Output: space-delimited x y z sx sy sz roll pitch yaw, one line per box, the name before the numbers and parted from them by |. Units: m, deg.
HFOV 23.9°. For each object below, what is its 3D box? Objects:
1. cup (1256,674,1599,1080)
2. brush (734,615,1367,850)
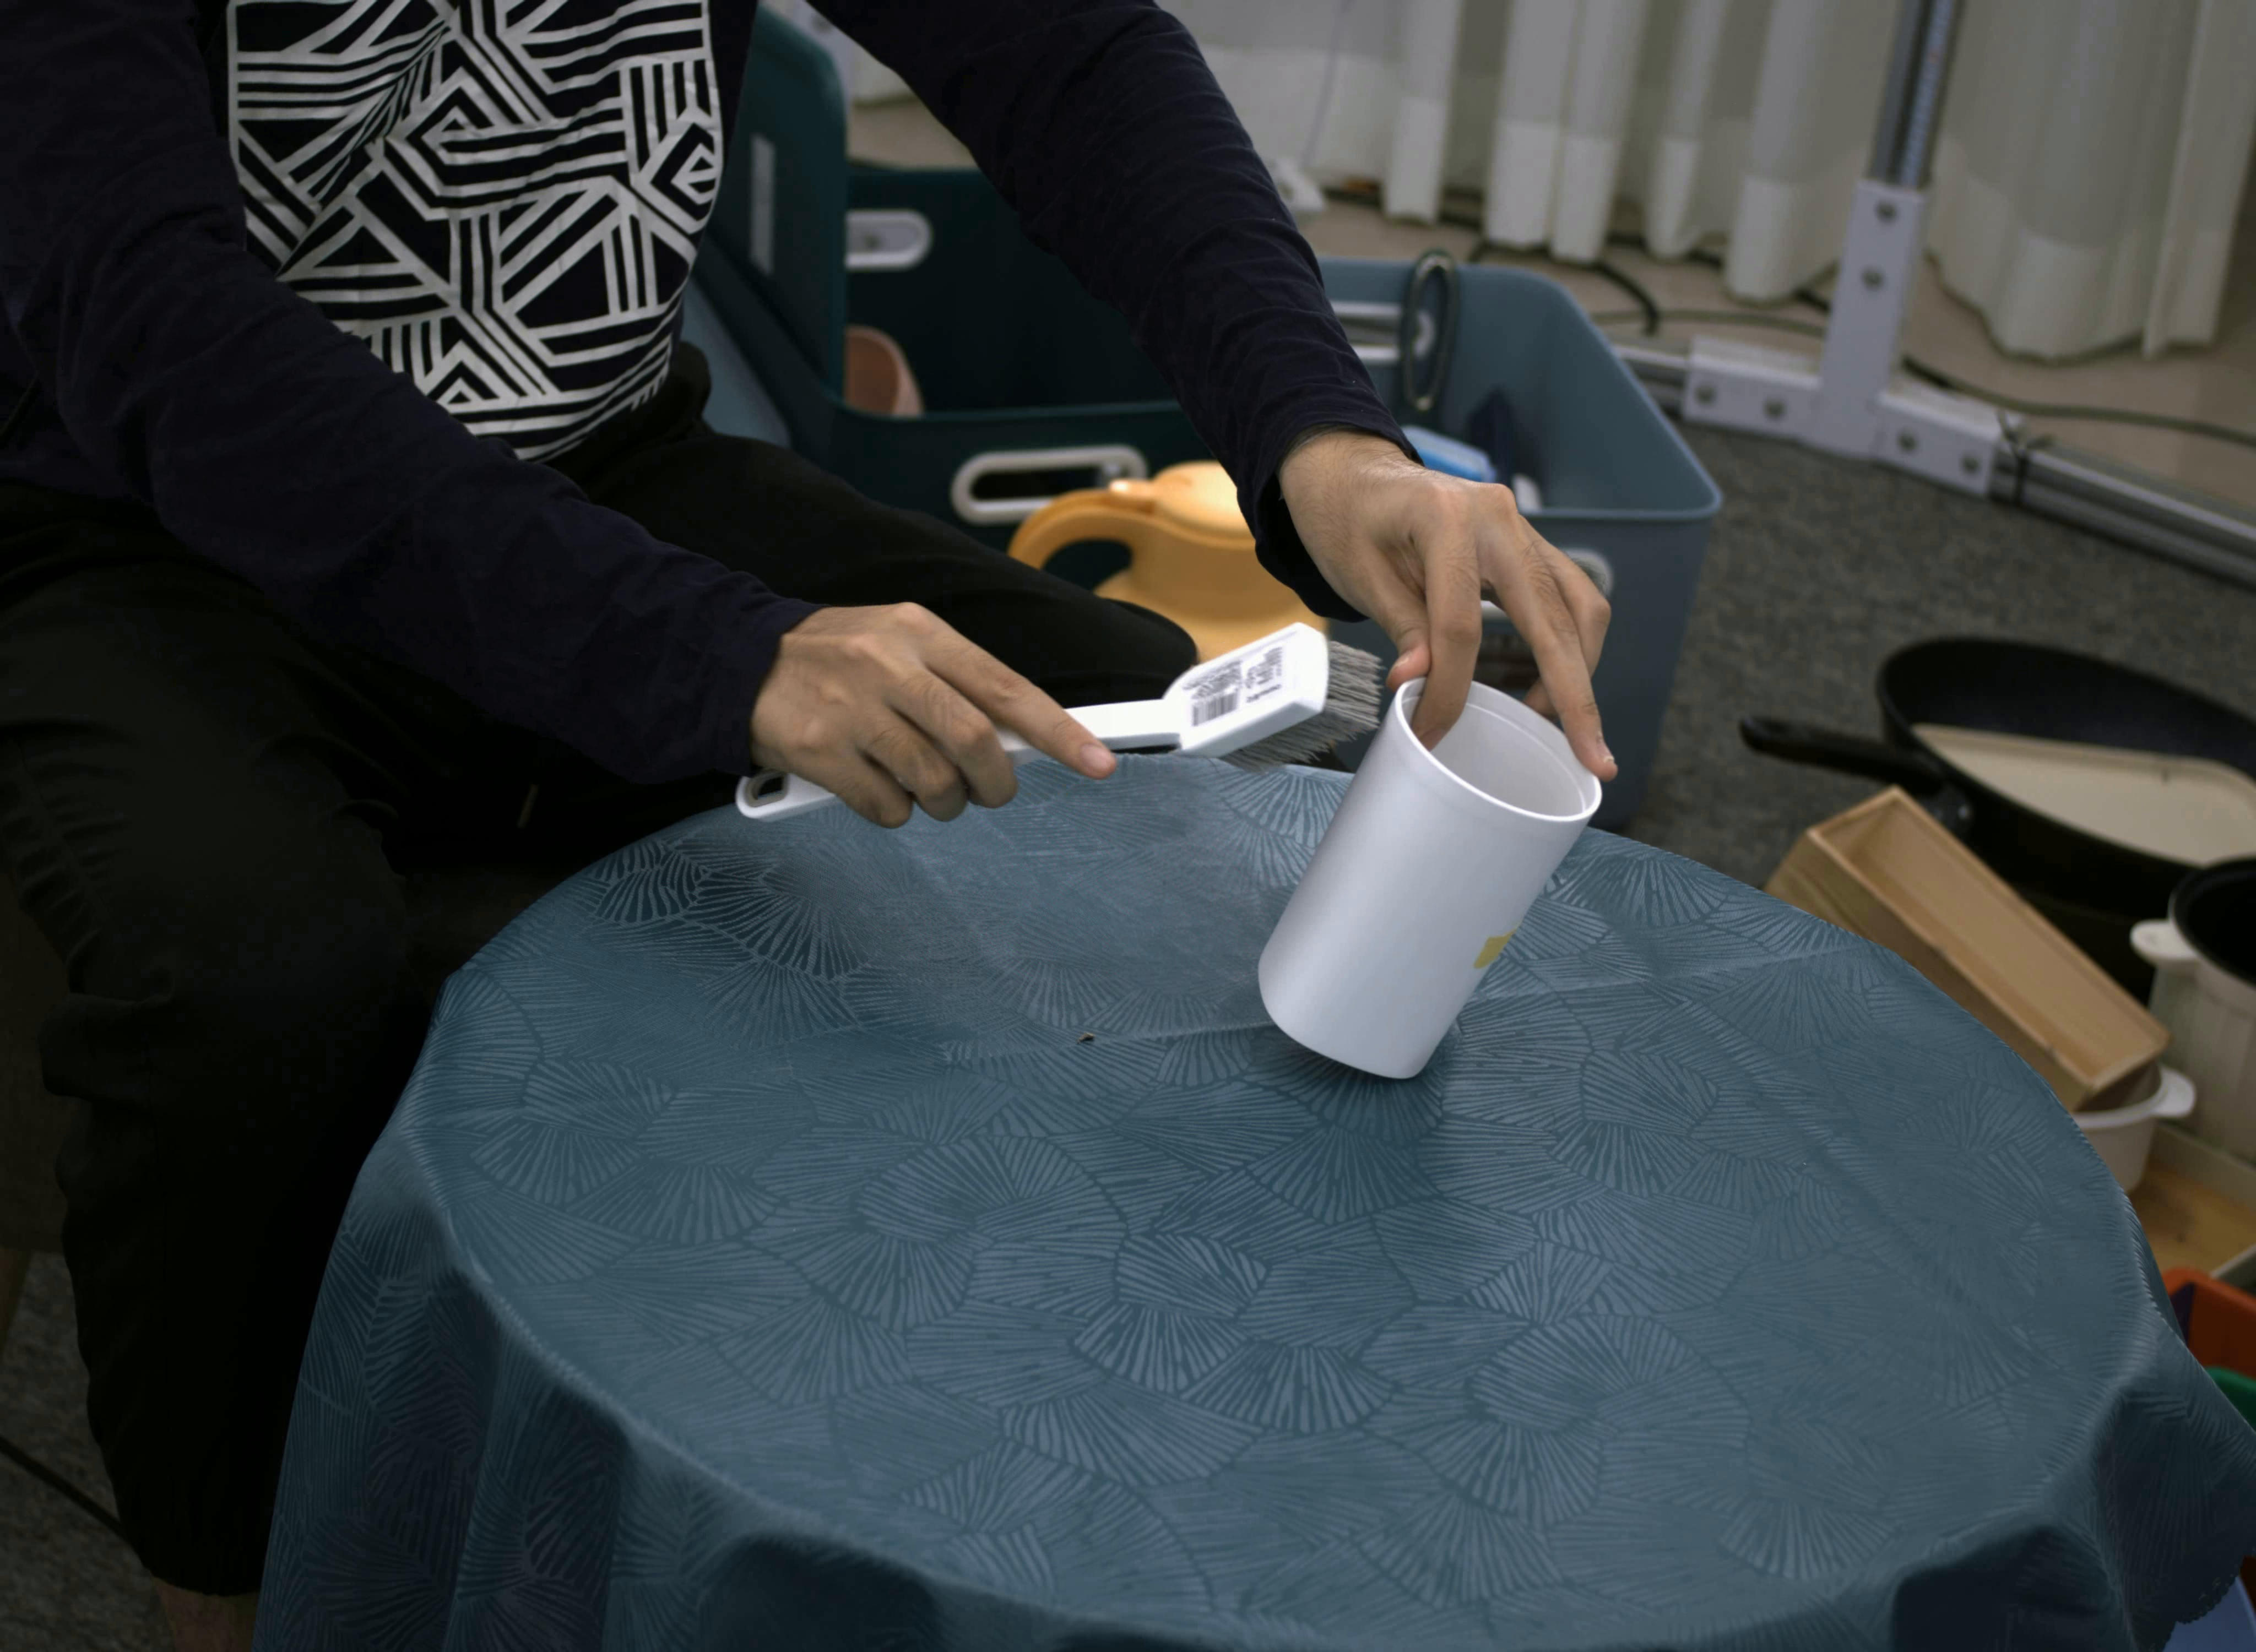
cup | 0.102 0.020 1.880 0.081 0.125 0.082 22 28 -13
brush | -0.027 -0.025 1.894 0.244 0.034 0.050 -16 -24 25
